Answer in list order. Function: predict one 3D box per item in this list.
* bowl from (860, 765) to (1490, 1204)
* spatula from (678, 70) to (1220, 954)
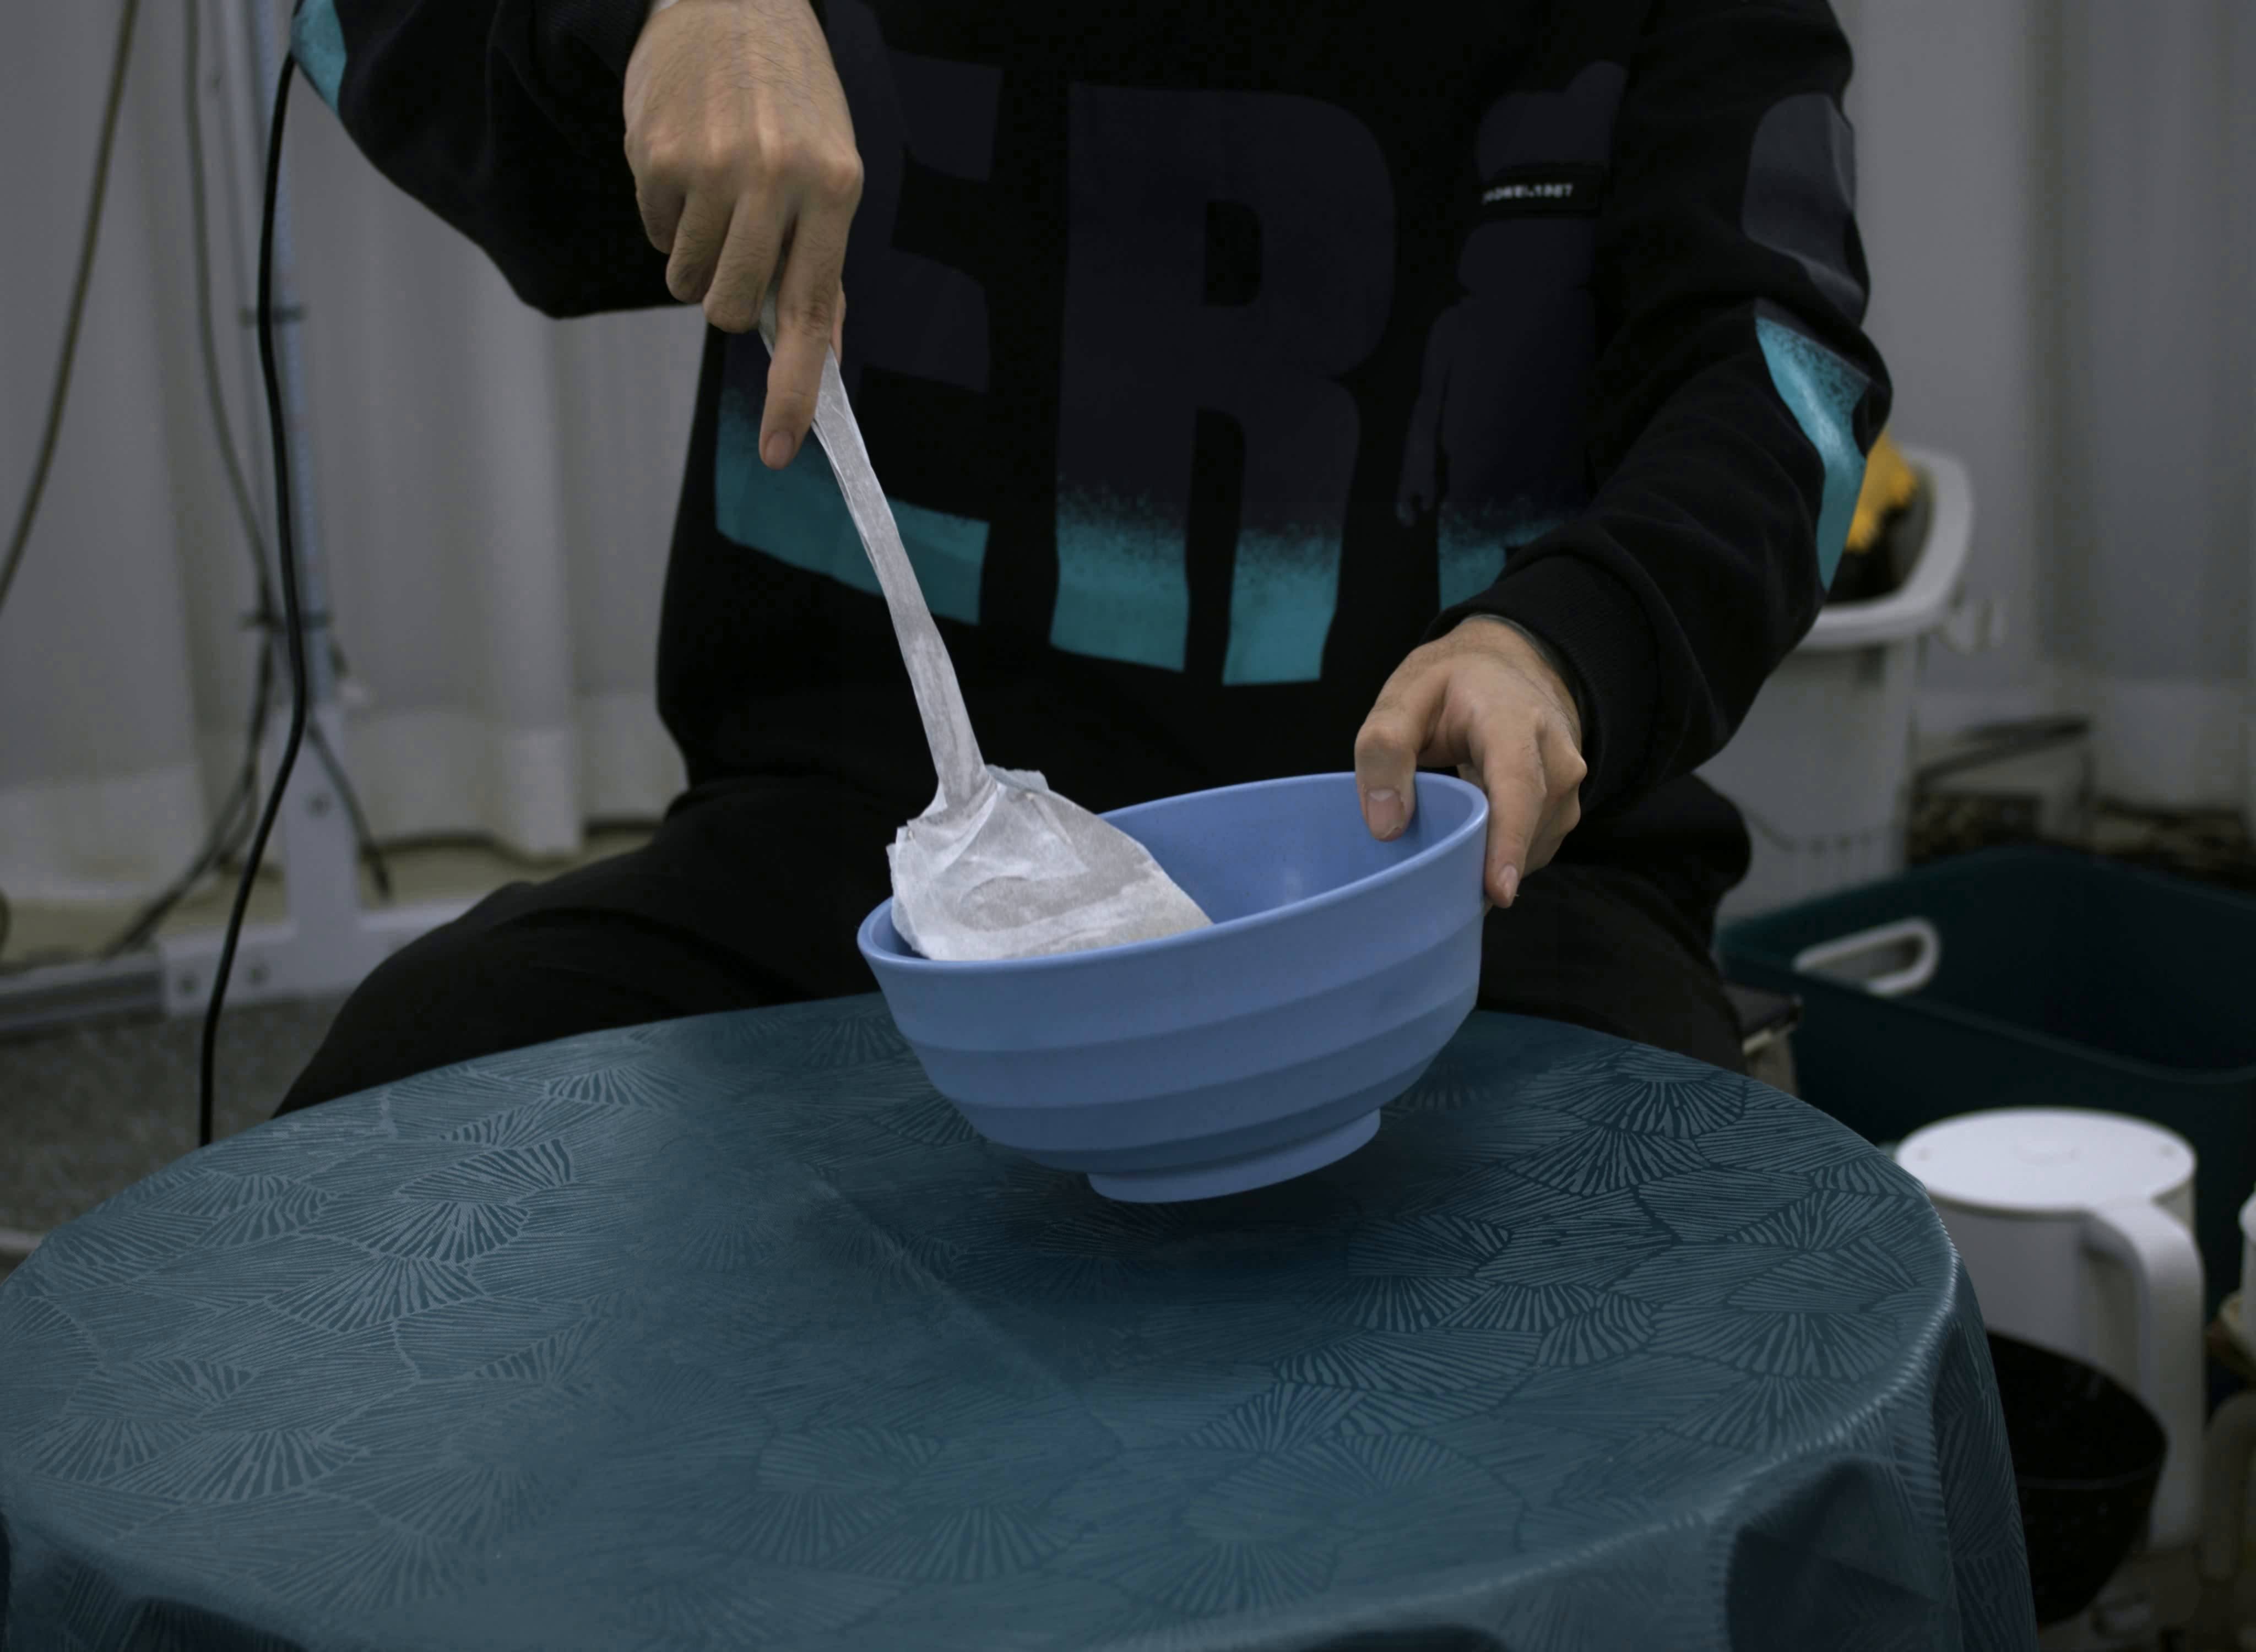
[{"bbox_3d":[0.024,0.055,1.669,0.196,0.095,0.197,-13,12,2],"label":"bowl"},{"bbox_3d":[-0.074,-0.094,1.748,0.098,0.368,0.044,-13,-18,-30],"label":"spatula"}]
